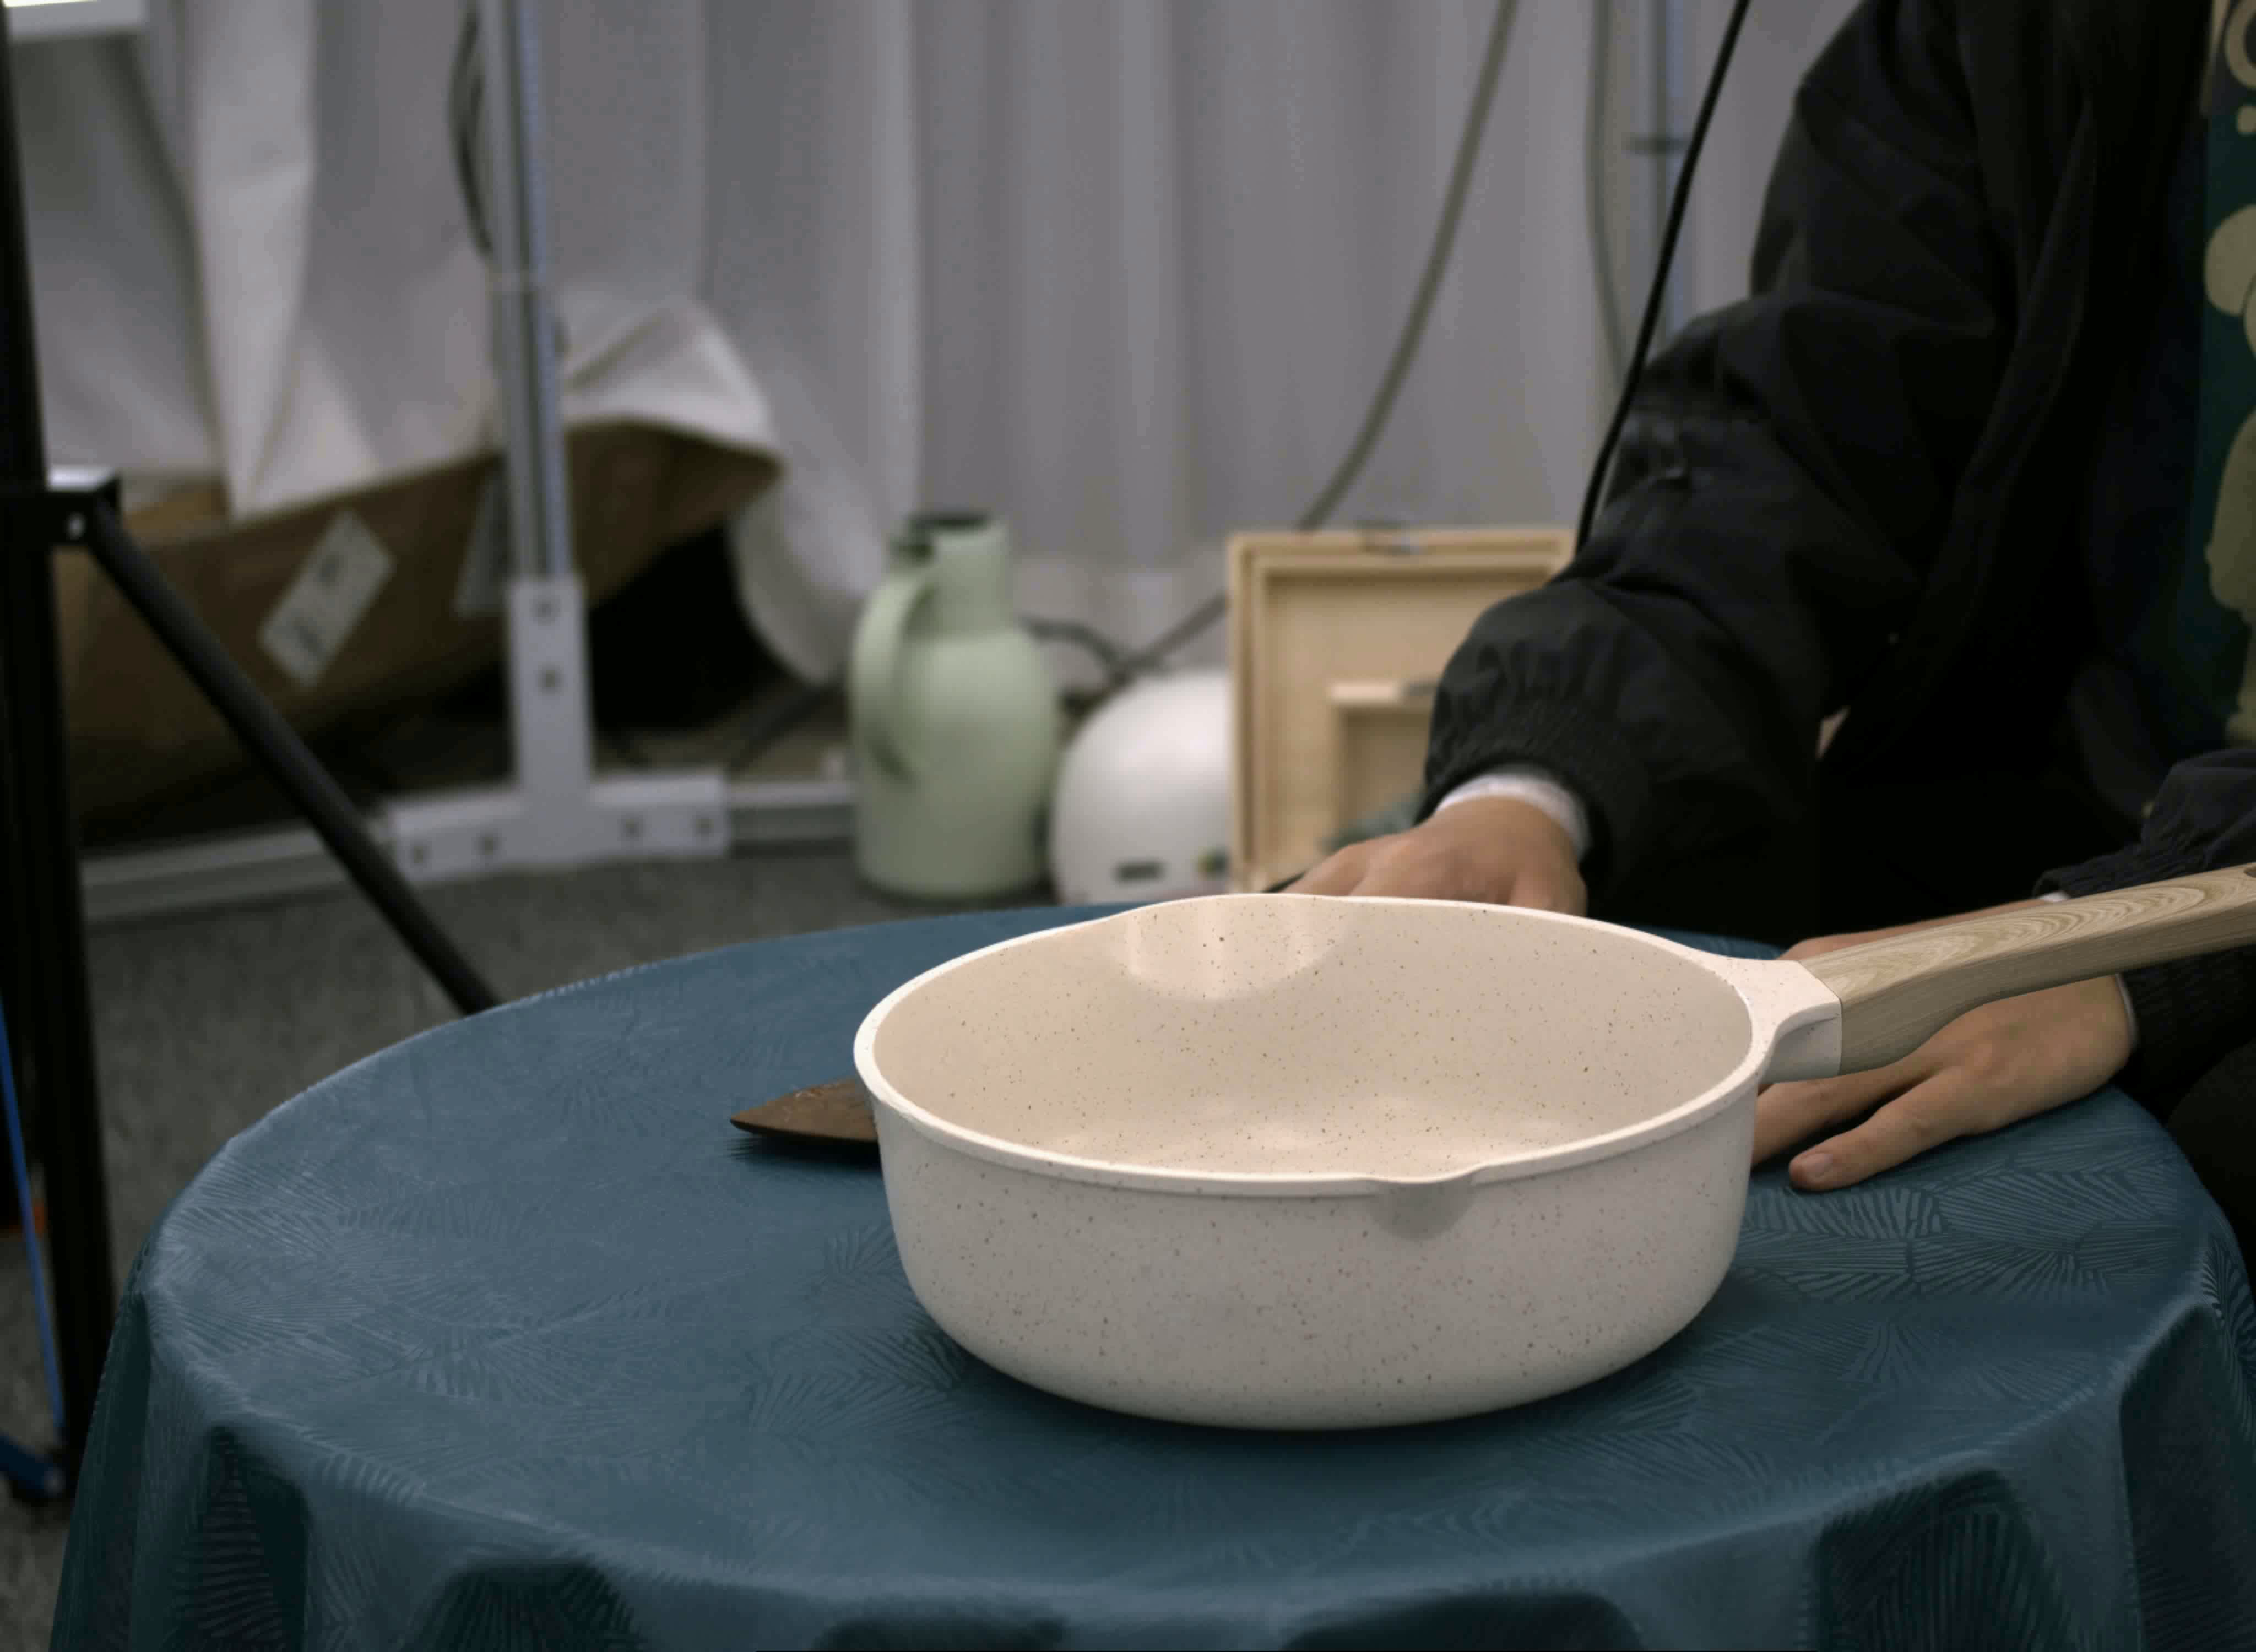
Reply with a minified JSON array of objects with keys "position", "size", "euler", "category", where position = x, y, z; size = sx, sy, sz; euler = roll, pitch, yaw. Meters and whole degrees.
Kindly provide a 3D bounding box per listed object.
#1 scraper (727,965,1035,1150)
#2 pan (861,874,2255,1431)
[{"position":[-0.051,0.070,1.685],"size":[0.077,0.011,0.208],"euler":[5,17,23],"category":"scraper"},{"position":[0.143,0.079,1.459],"size":[0.429,0.102,0.266],"euler":[-5,14,-9],"category":"pan"}]
